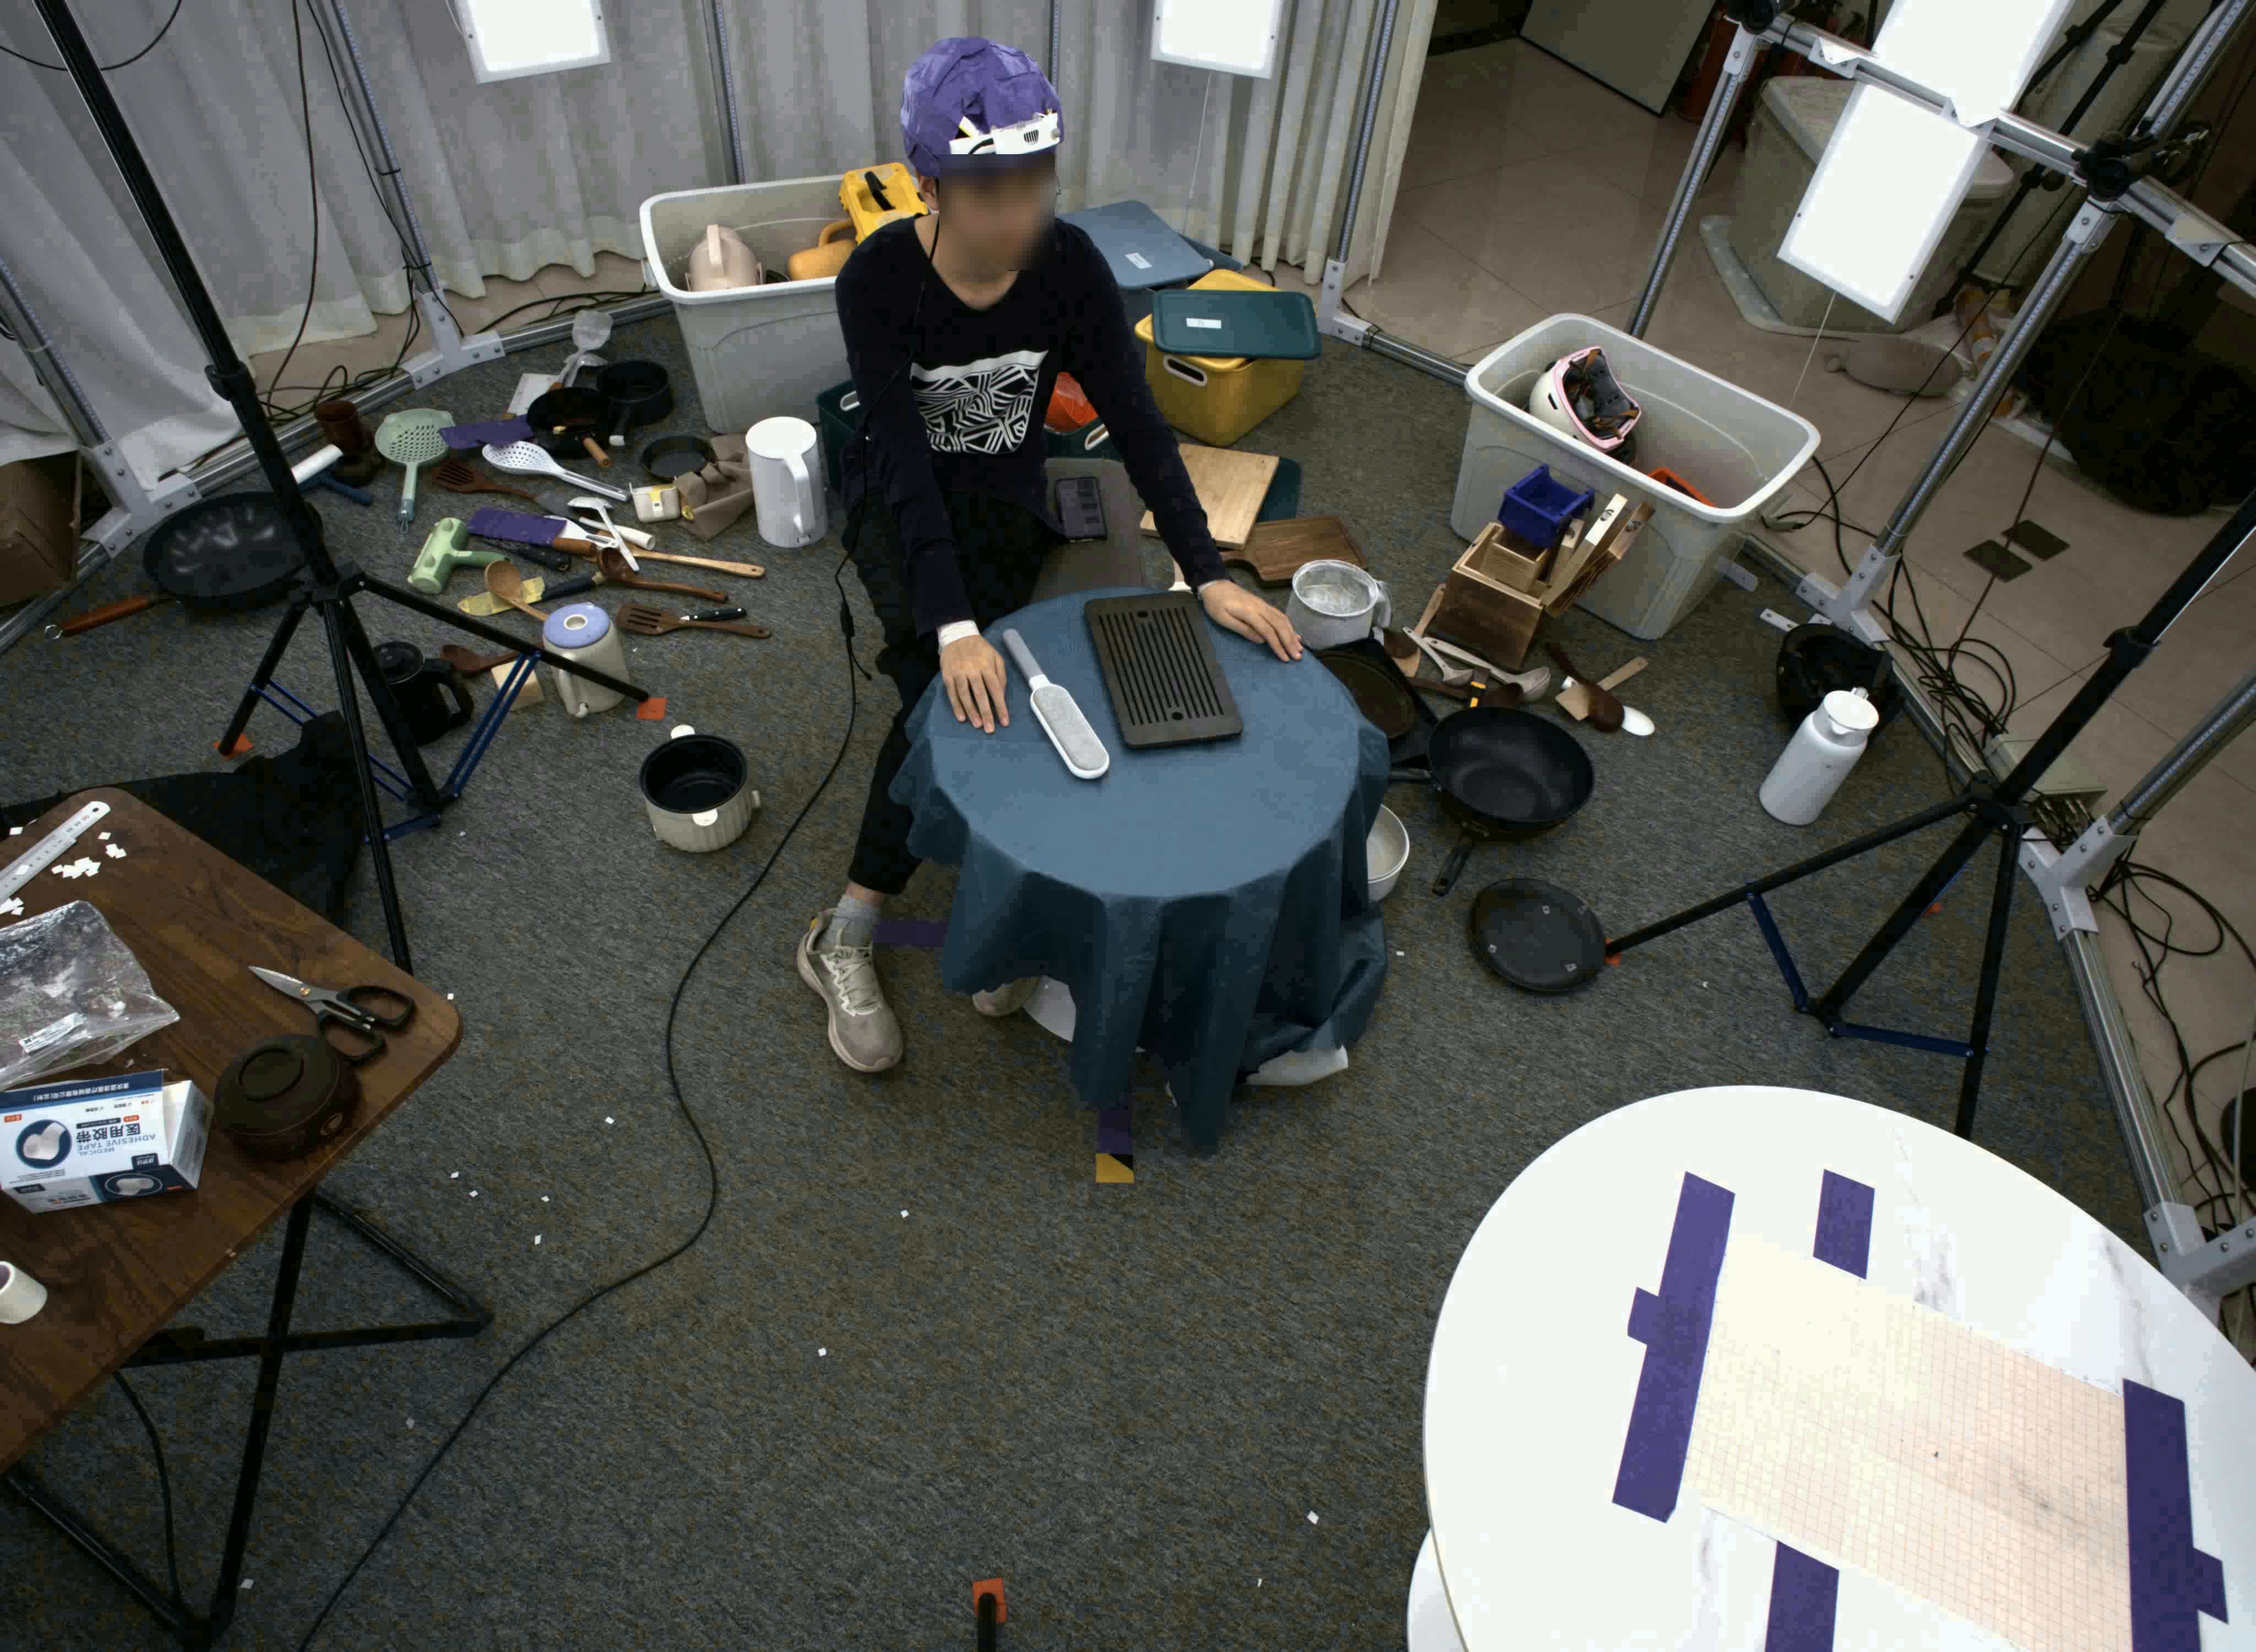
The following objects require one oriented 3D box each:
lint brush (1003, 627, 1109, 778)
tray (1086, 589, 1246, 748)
[{"bbox_3d":[-0.107,-0.179,1.798,0.060,0.020,0.316,-21,53,-14],"label":"lint brush"},{"bbox_3d":[0.050,-0.232,1.861,0.170,0.018,0.313,-8,50,-10],"label":"tray"}]
